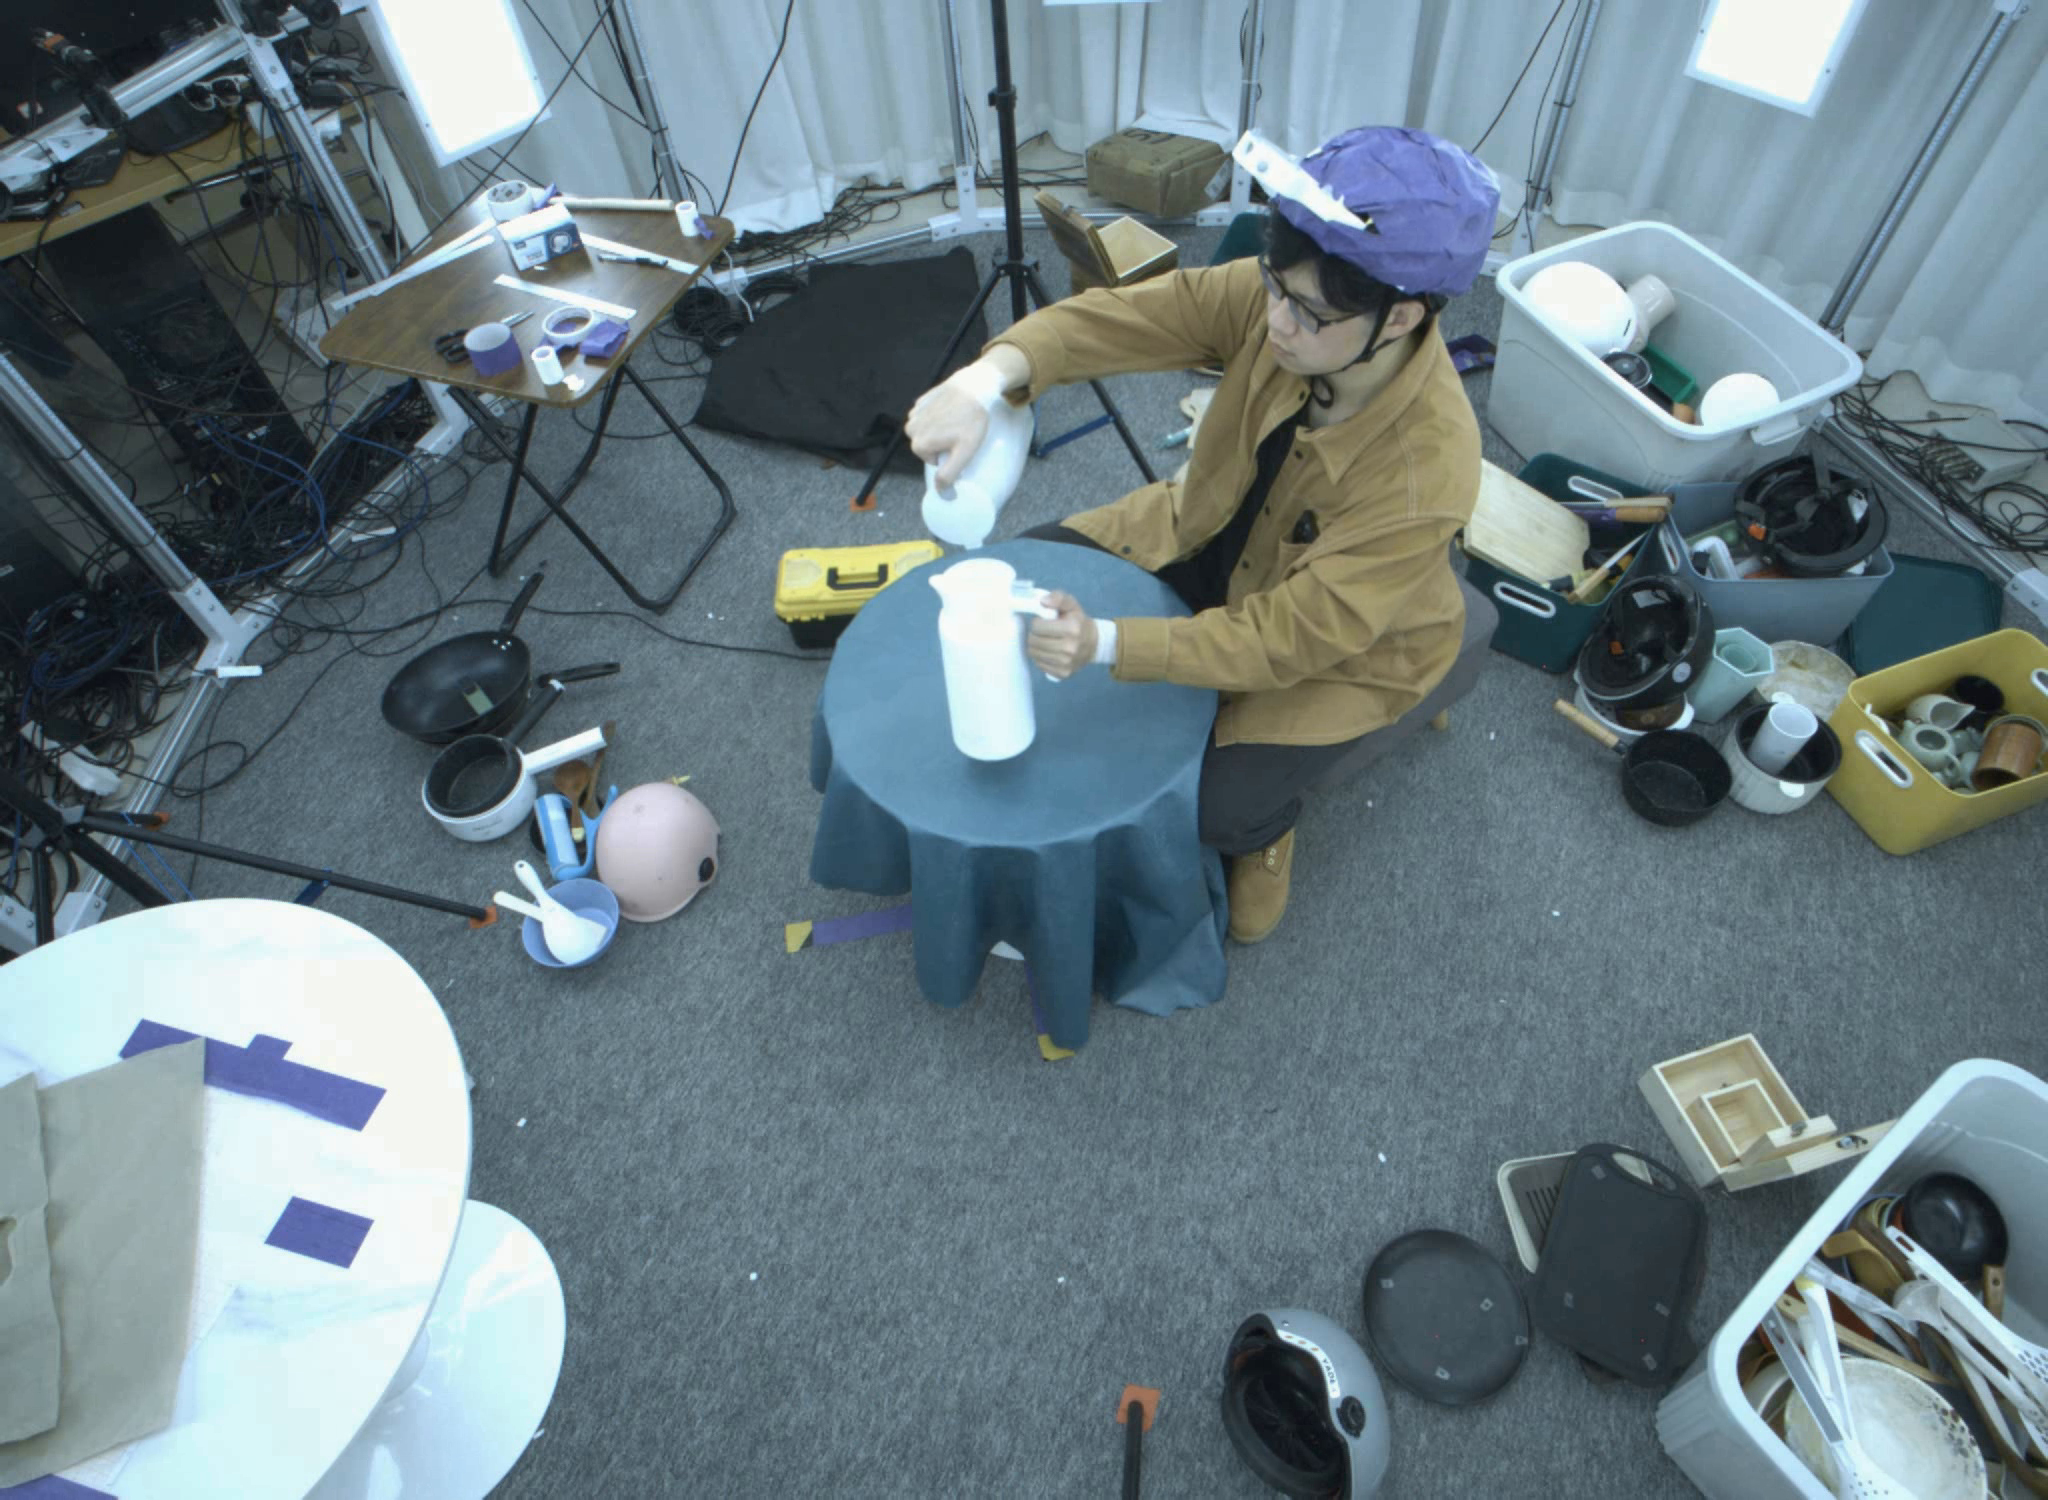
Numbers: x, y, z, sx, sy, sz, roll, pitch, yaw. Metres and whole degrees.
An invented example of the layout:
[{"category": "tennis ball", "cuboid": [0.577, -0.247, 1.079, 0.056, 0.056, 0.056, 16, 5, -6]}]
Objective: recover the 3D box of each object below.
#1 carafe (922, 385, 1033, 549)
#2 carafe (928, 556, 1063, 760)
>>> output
[{"category": "carafe", "cuboid": [-0.075, -0.380, 1.553, 0.131, 0.170, 0.246, -7, 40, 15]}, {"category": "carafe", "cuboid": [-0.034, -0.119, 1.645, 0.171, 0.272, 0.123, 7, 40, 13]}]
